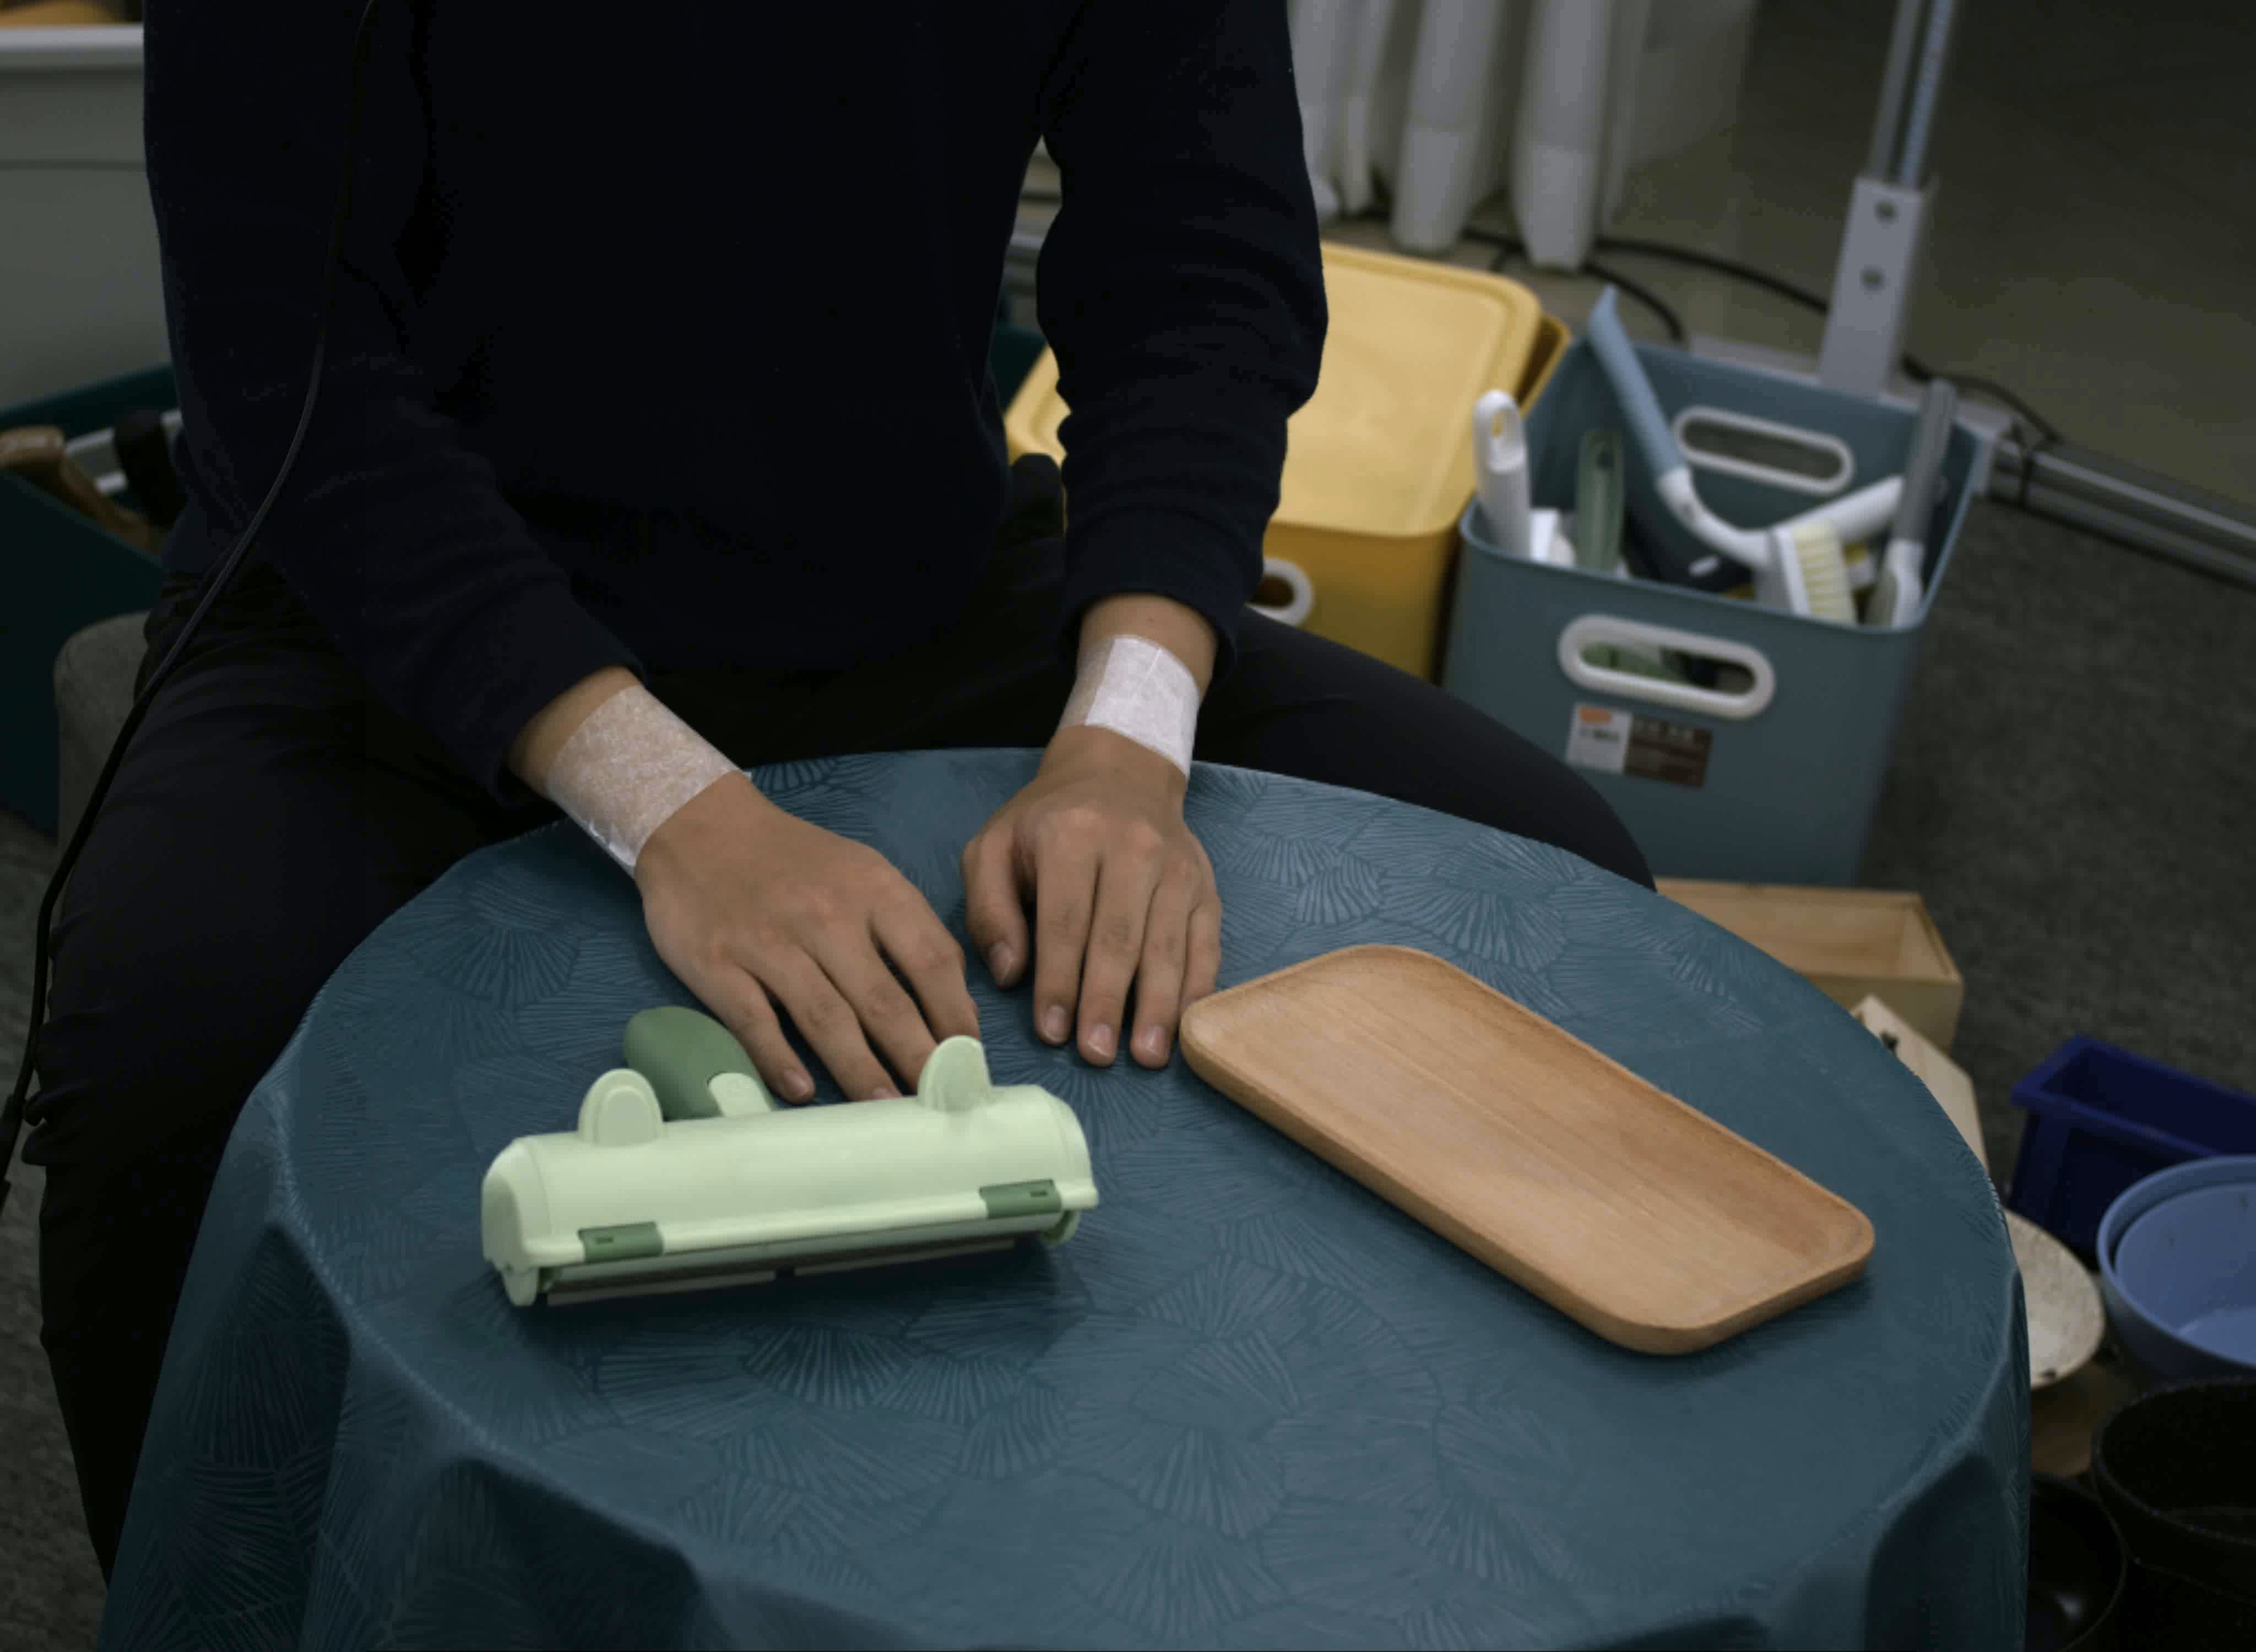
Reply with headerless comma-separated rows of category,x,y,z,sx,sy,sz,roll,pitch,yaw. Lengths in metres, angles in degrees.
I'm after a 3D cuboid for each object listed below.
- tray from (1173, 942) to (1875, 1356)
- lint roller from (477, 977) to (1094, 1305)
tray,0.134,0.109,1.843,0.130,0.023,0.253,-15,33,-40
lint roller,-0.130,0.081,1.760,0.197,0.082,0.185,-5,35,-23
